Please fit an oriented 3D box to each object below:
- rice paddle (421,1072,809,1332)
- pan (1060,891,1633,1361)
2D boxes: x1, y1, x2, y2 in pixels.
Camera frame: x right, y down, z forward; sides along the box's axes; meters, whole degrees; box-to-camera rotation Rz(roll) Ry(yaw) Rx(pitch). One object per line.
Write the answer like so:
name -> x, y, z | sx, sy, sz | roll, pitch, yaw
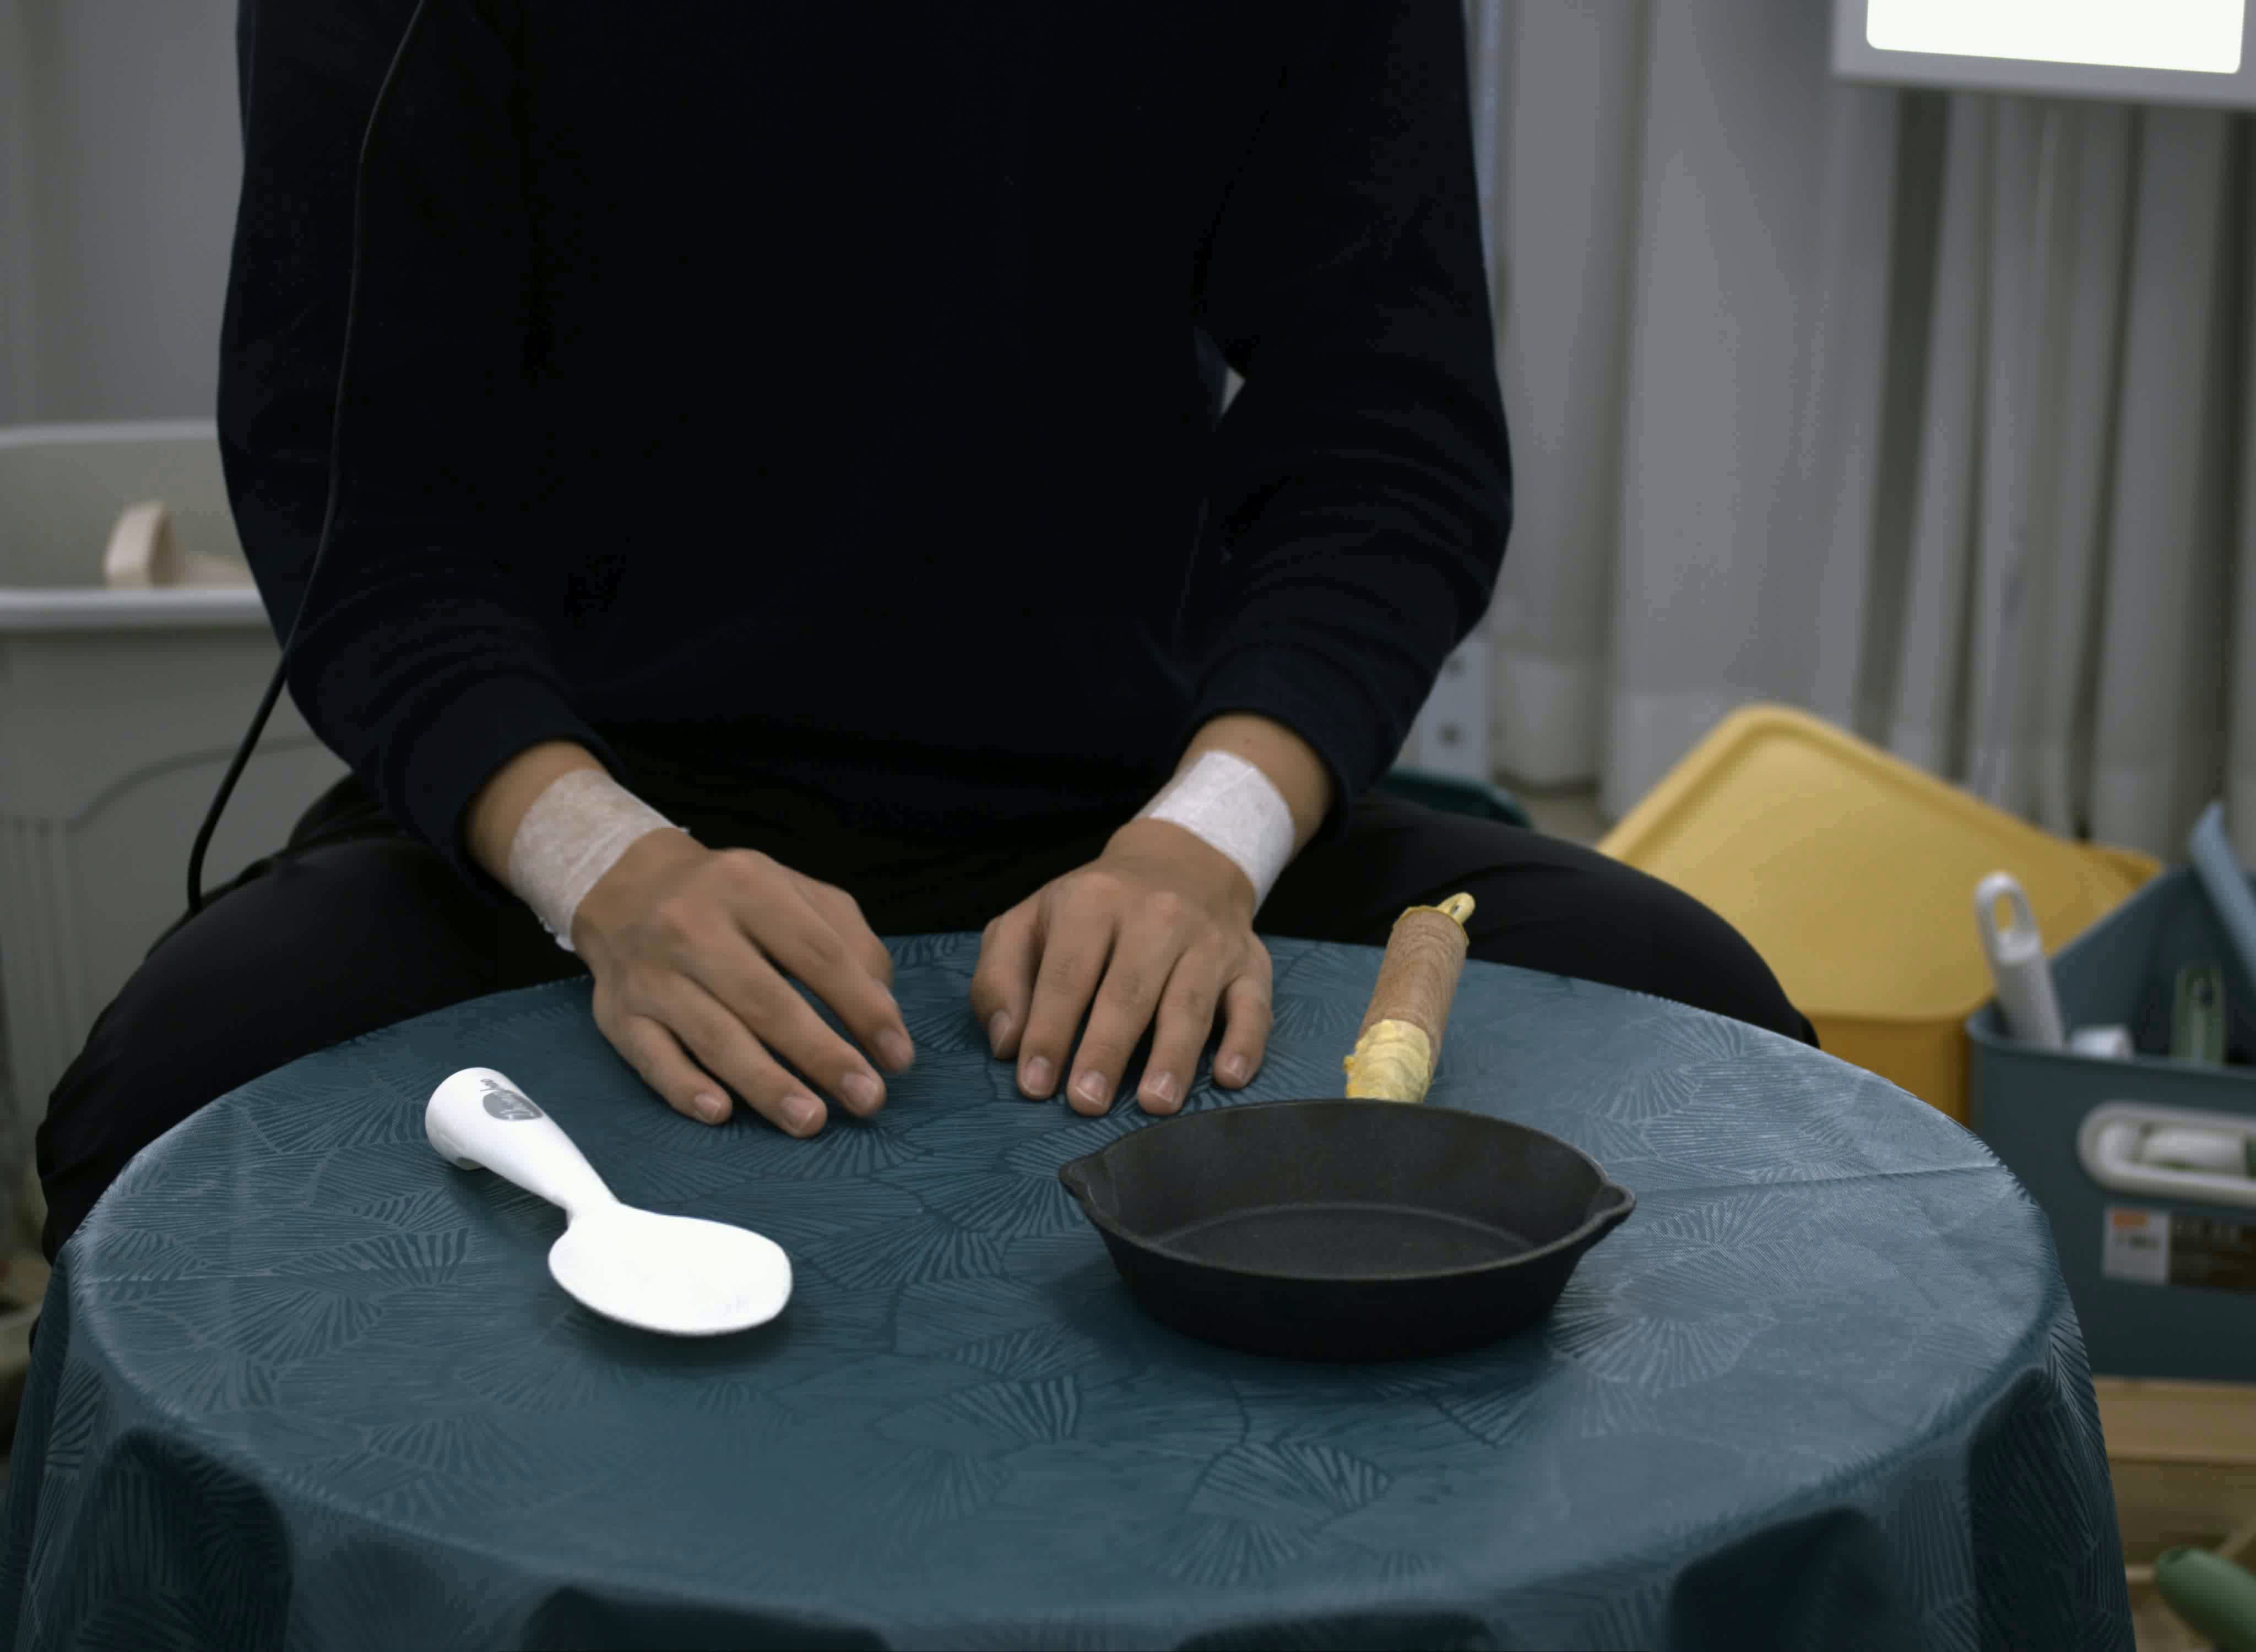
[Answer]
rice paddle -> -0.157, 0.113, 1.561 | 0.069, 0.029, 0.202 | -11, 18, -28
pan -> 0.079, 0.088, 1.616 | 0.168, 0.050, 0.323 | 3, 17, 10
